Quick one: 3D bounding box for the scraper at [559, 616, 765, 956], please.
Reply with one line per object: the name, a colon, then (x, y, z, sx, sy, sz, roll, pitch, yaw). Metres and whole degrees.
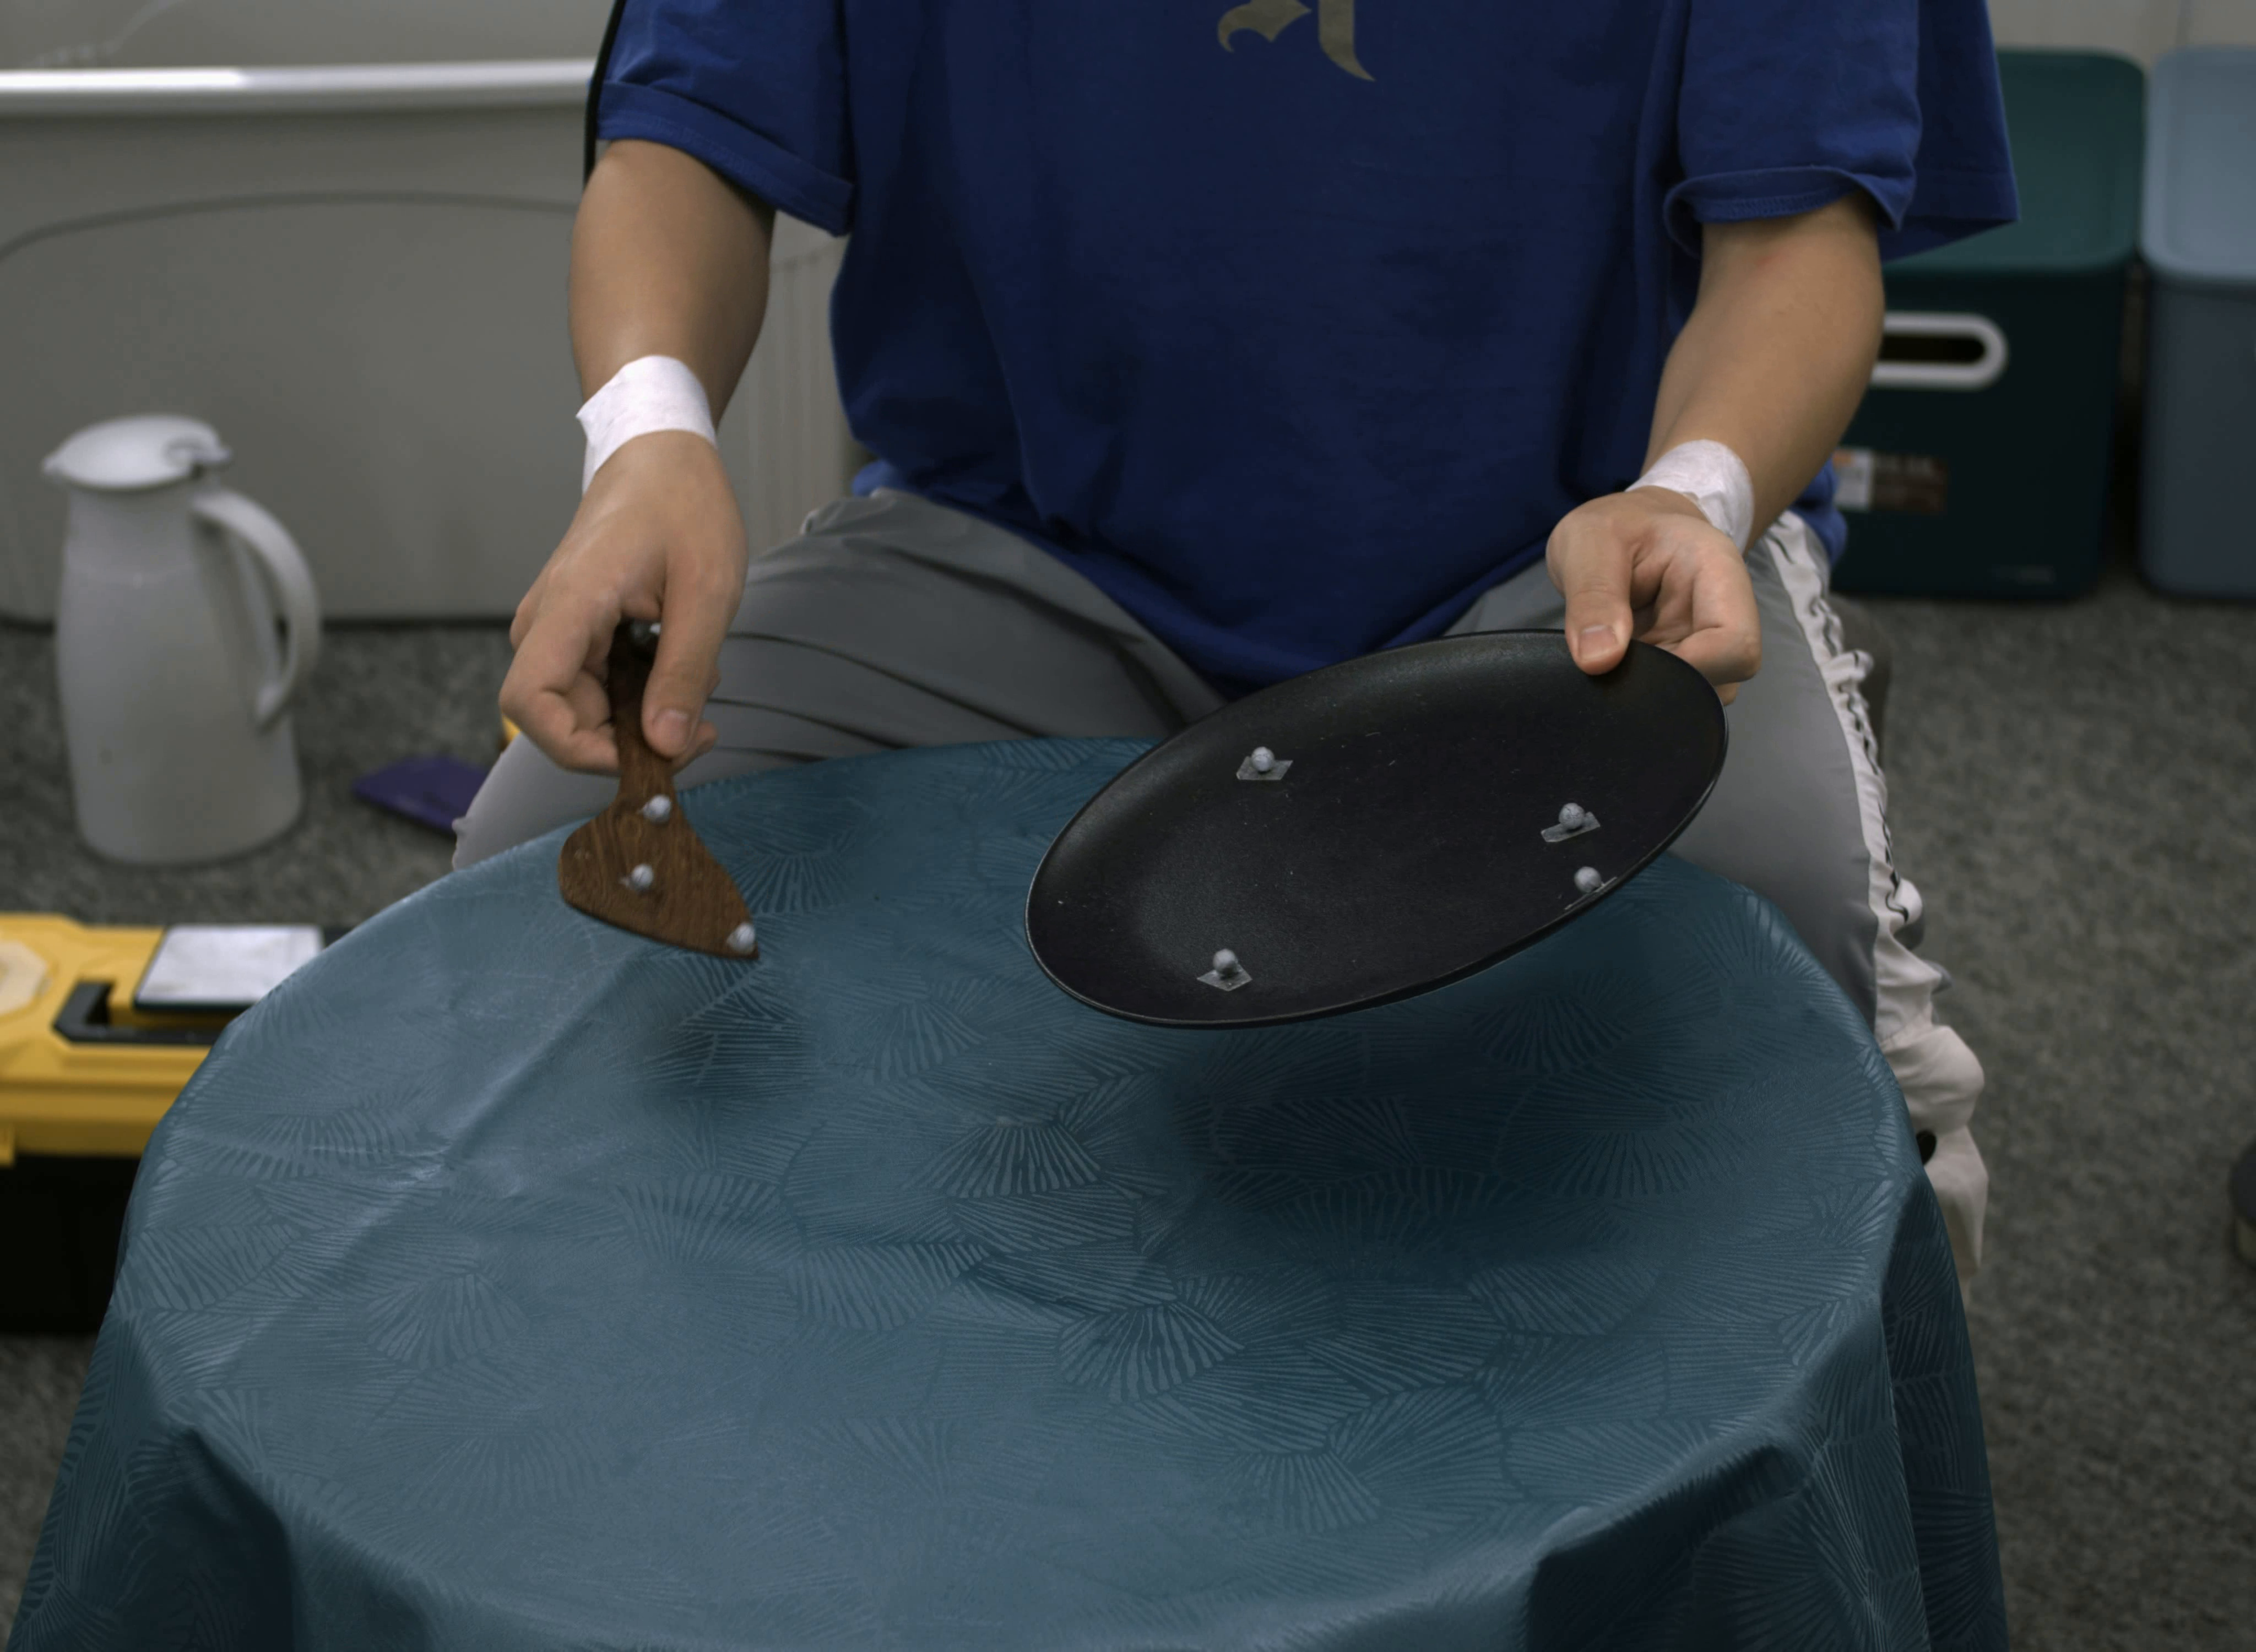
scraper: (-0.169, -0.017, 1.999, 0.075, 0.010, 0.214, 18, 28, -18)

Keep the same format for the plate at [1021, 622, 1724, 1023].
plate: (0.082, 0.003, 1.865, 0.242, 0.023, 0.248, -16, 26, 8)
